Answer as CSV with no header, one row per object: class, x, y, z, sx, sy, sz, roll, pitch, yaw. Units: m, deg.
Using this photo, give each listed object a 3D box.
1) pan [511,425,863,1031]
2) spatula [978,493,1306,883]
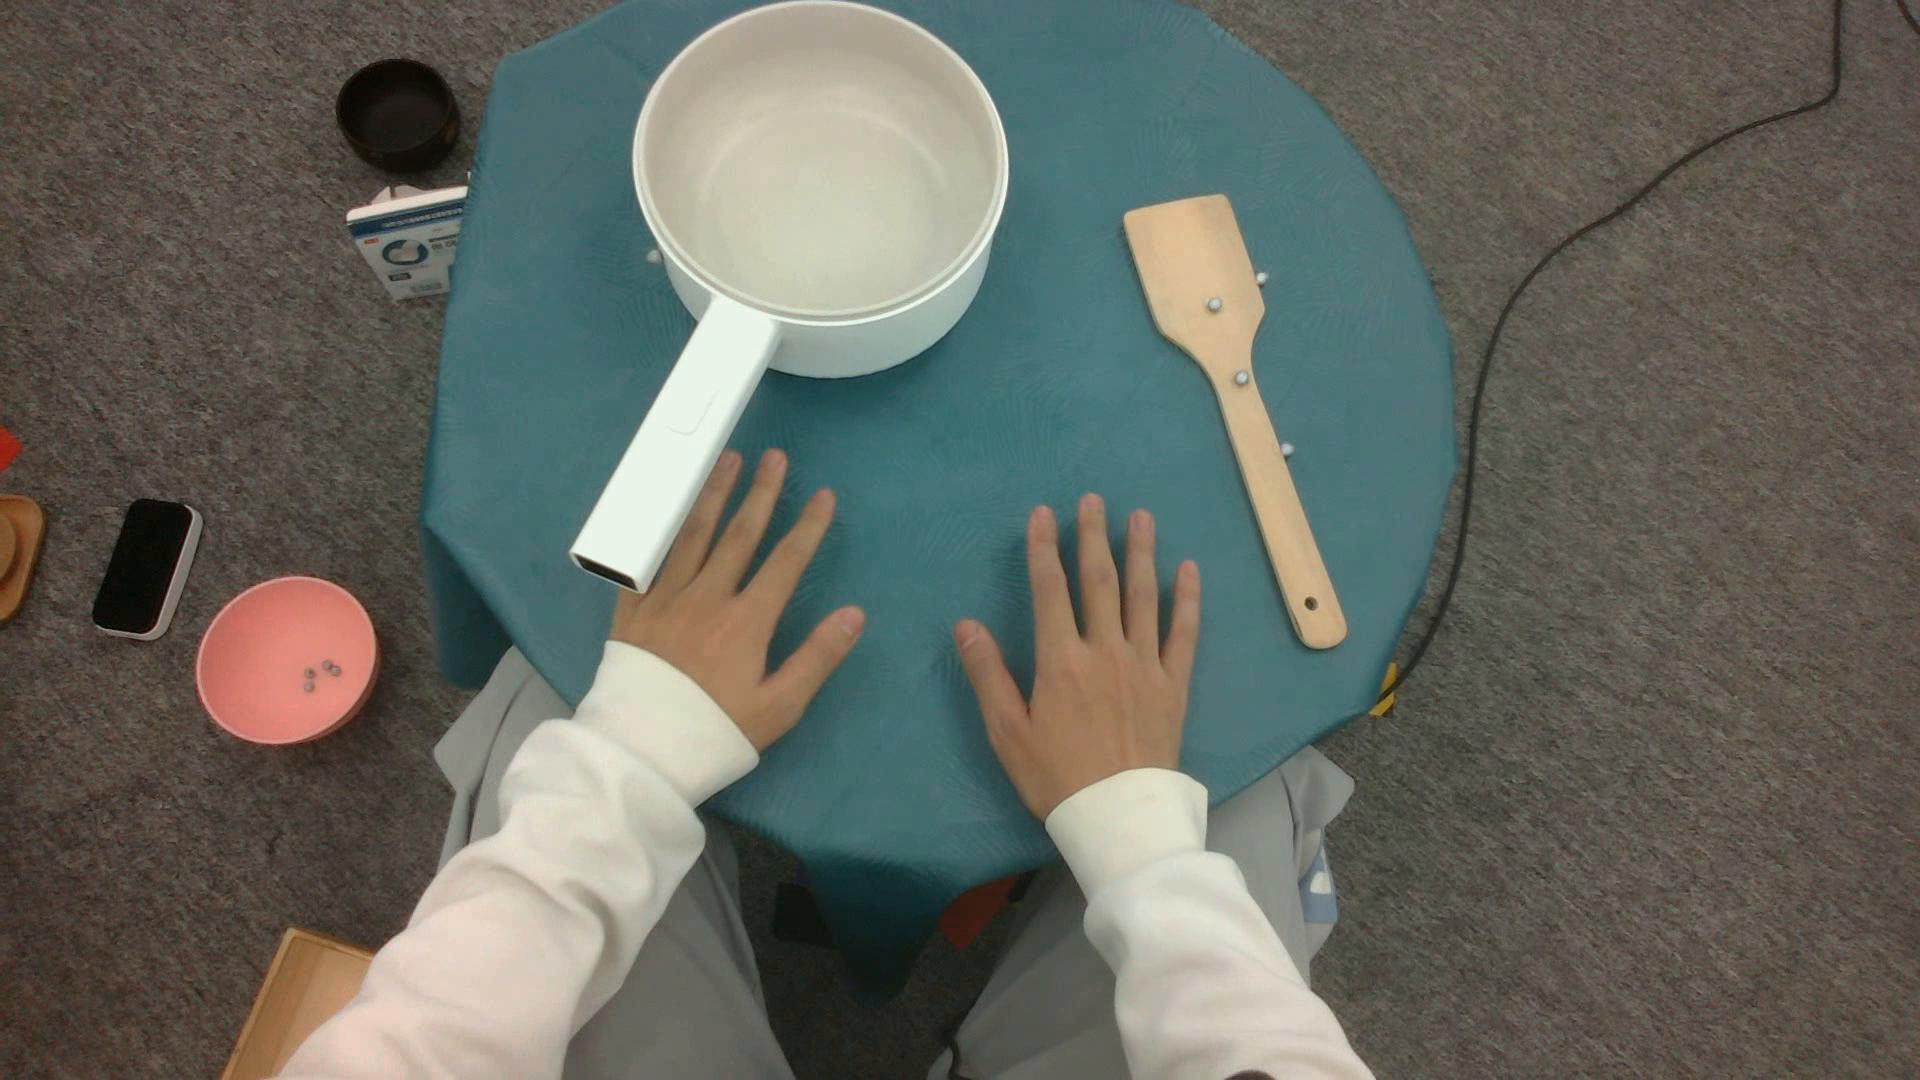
pan,-0.166,0.102,0.791,0.201,0.101,0.356,5,58,4
spatula,0.114,0.085,0.845,0.072,0.010,0.293,-26,59,-17
